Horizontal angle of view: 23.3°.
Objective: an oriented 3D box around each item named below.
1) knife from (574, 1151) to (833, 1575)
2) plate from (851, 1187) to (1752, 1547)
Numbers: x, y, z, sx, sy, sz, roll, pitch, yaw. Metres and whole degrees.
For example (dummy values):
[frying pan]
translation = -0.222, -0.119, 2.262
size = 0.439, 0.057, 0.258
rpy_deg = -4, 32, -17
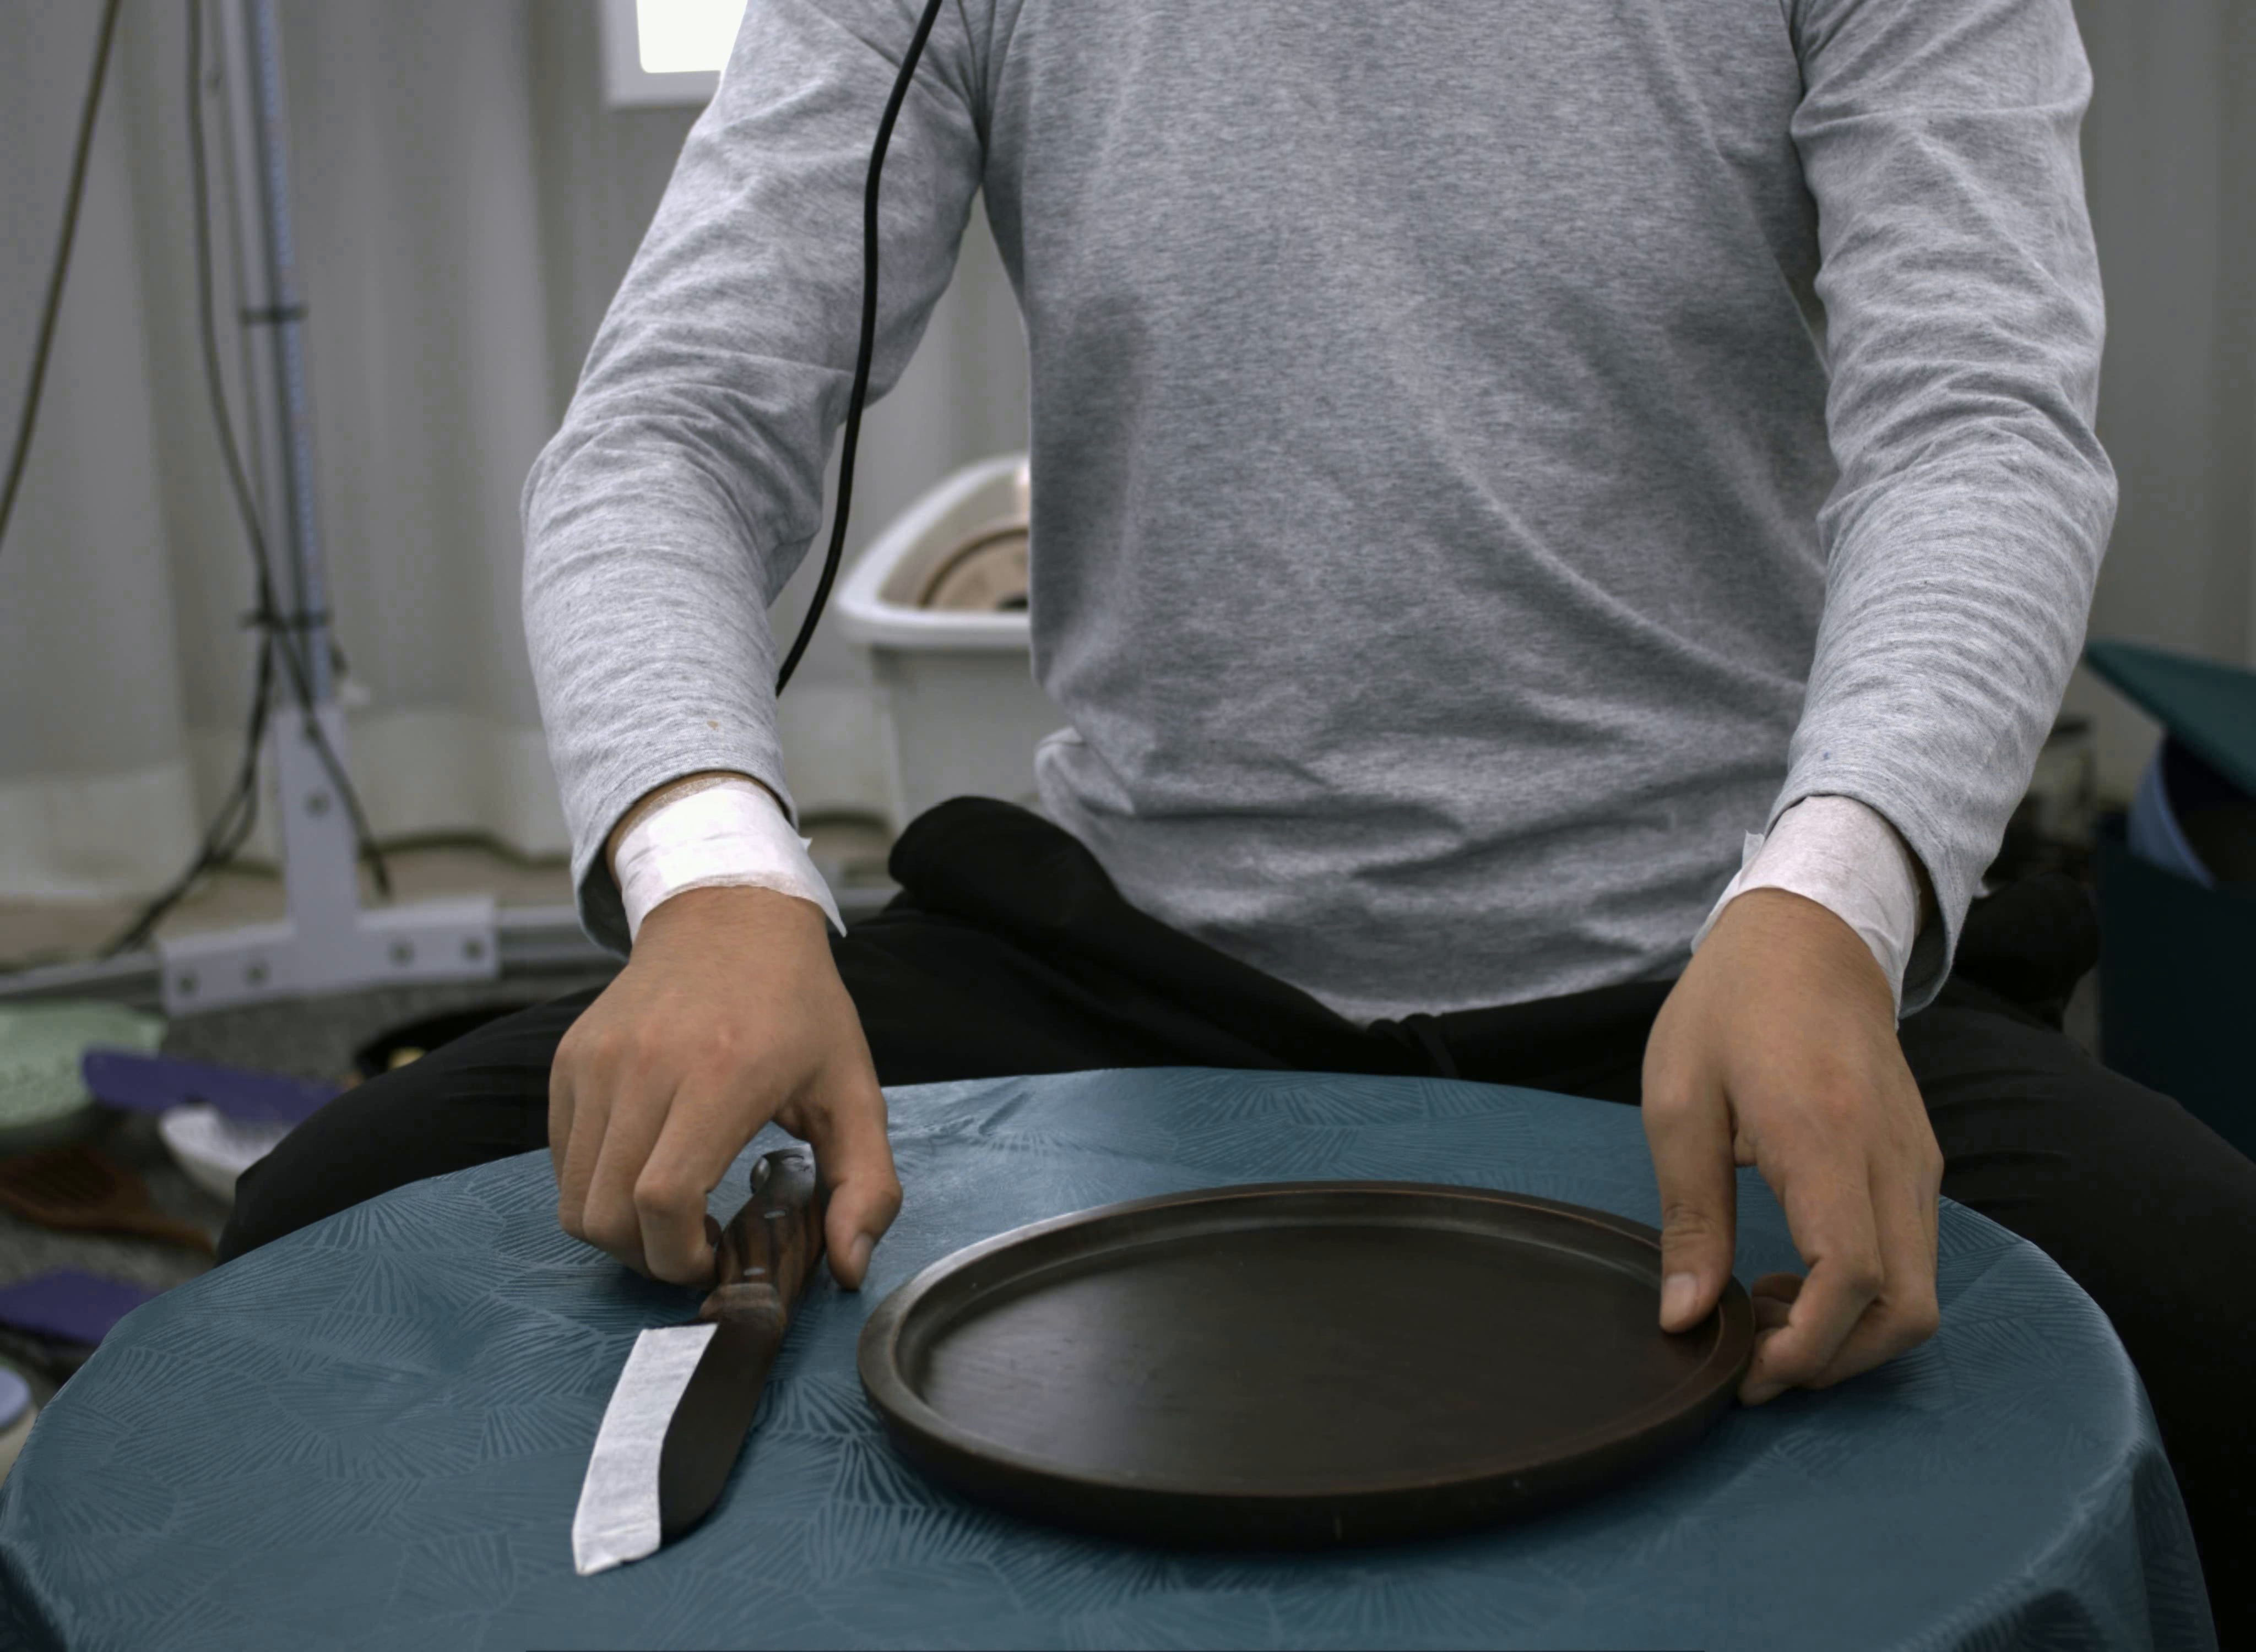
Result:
[knife]
translation = -0.120, 0.153, 1.568
size = 0.050, 0.020, 0.291
rpy_deg = -6, 17, 9
[plate]
translation = 0.049, 0.149, 1.533
size = 0.254, 0.029, 0.256
rpy_deg = -4, 13, 1
